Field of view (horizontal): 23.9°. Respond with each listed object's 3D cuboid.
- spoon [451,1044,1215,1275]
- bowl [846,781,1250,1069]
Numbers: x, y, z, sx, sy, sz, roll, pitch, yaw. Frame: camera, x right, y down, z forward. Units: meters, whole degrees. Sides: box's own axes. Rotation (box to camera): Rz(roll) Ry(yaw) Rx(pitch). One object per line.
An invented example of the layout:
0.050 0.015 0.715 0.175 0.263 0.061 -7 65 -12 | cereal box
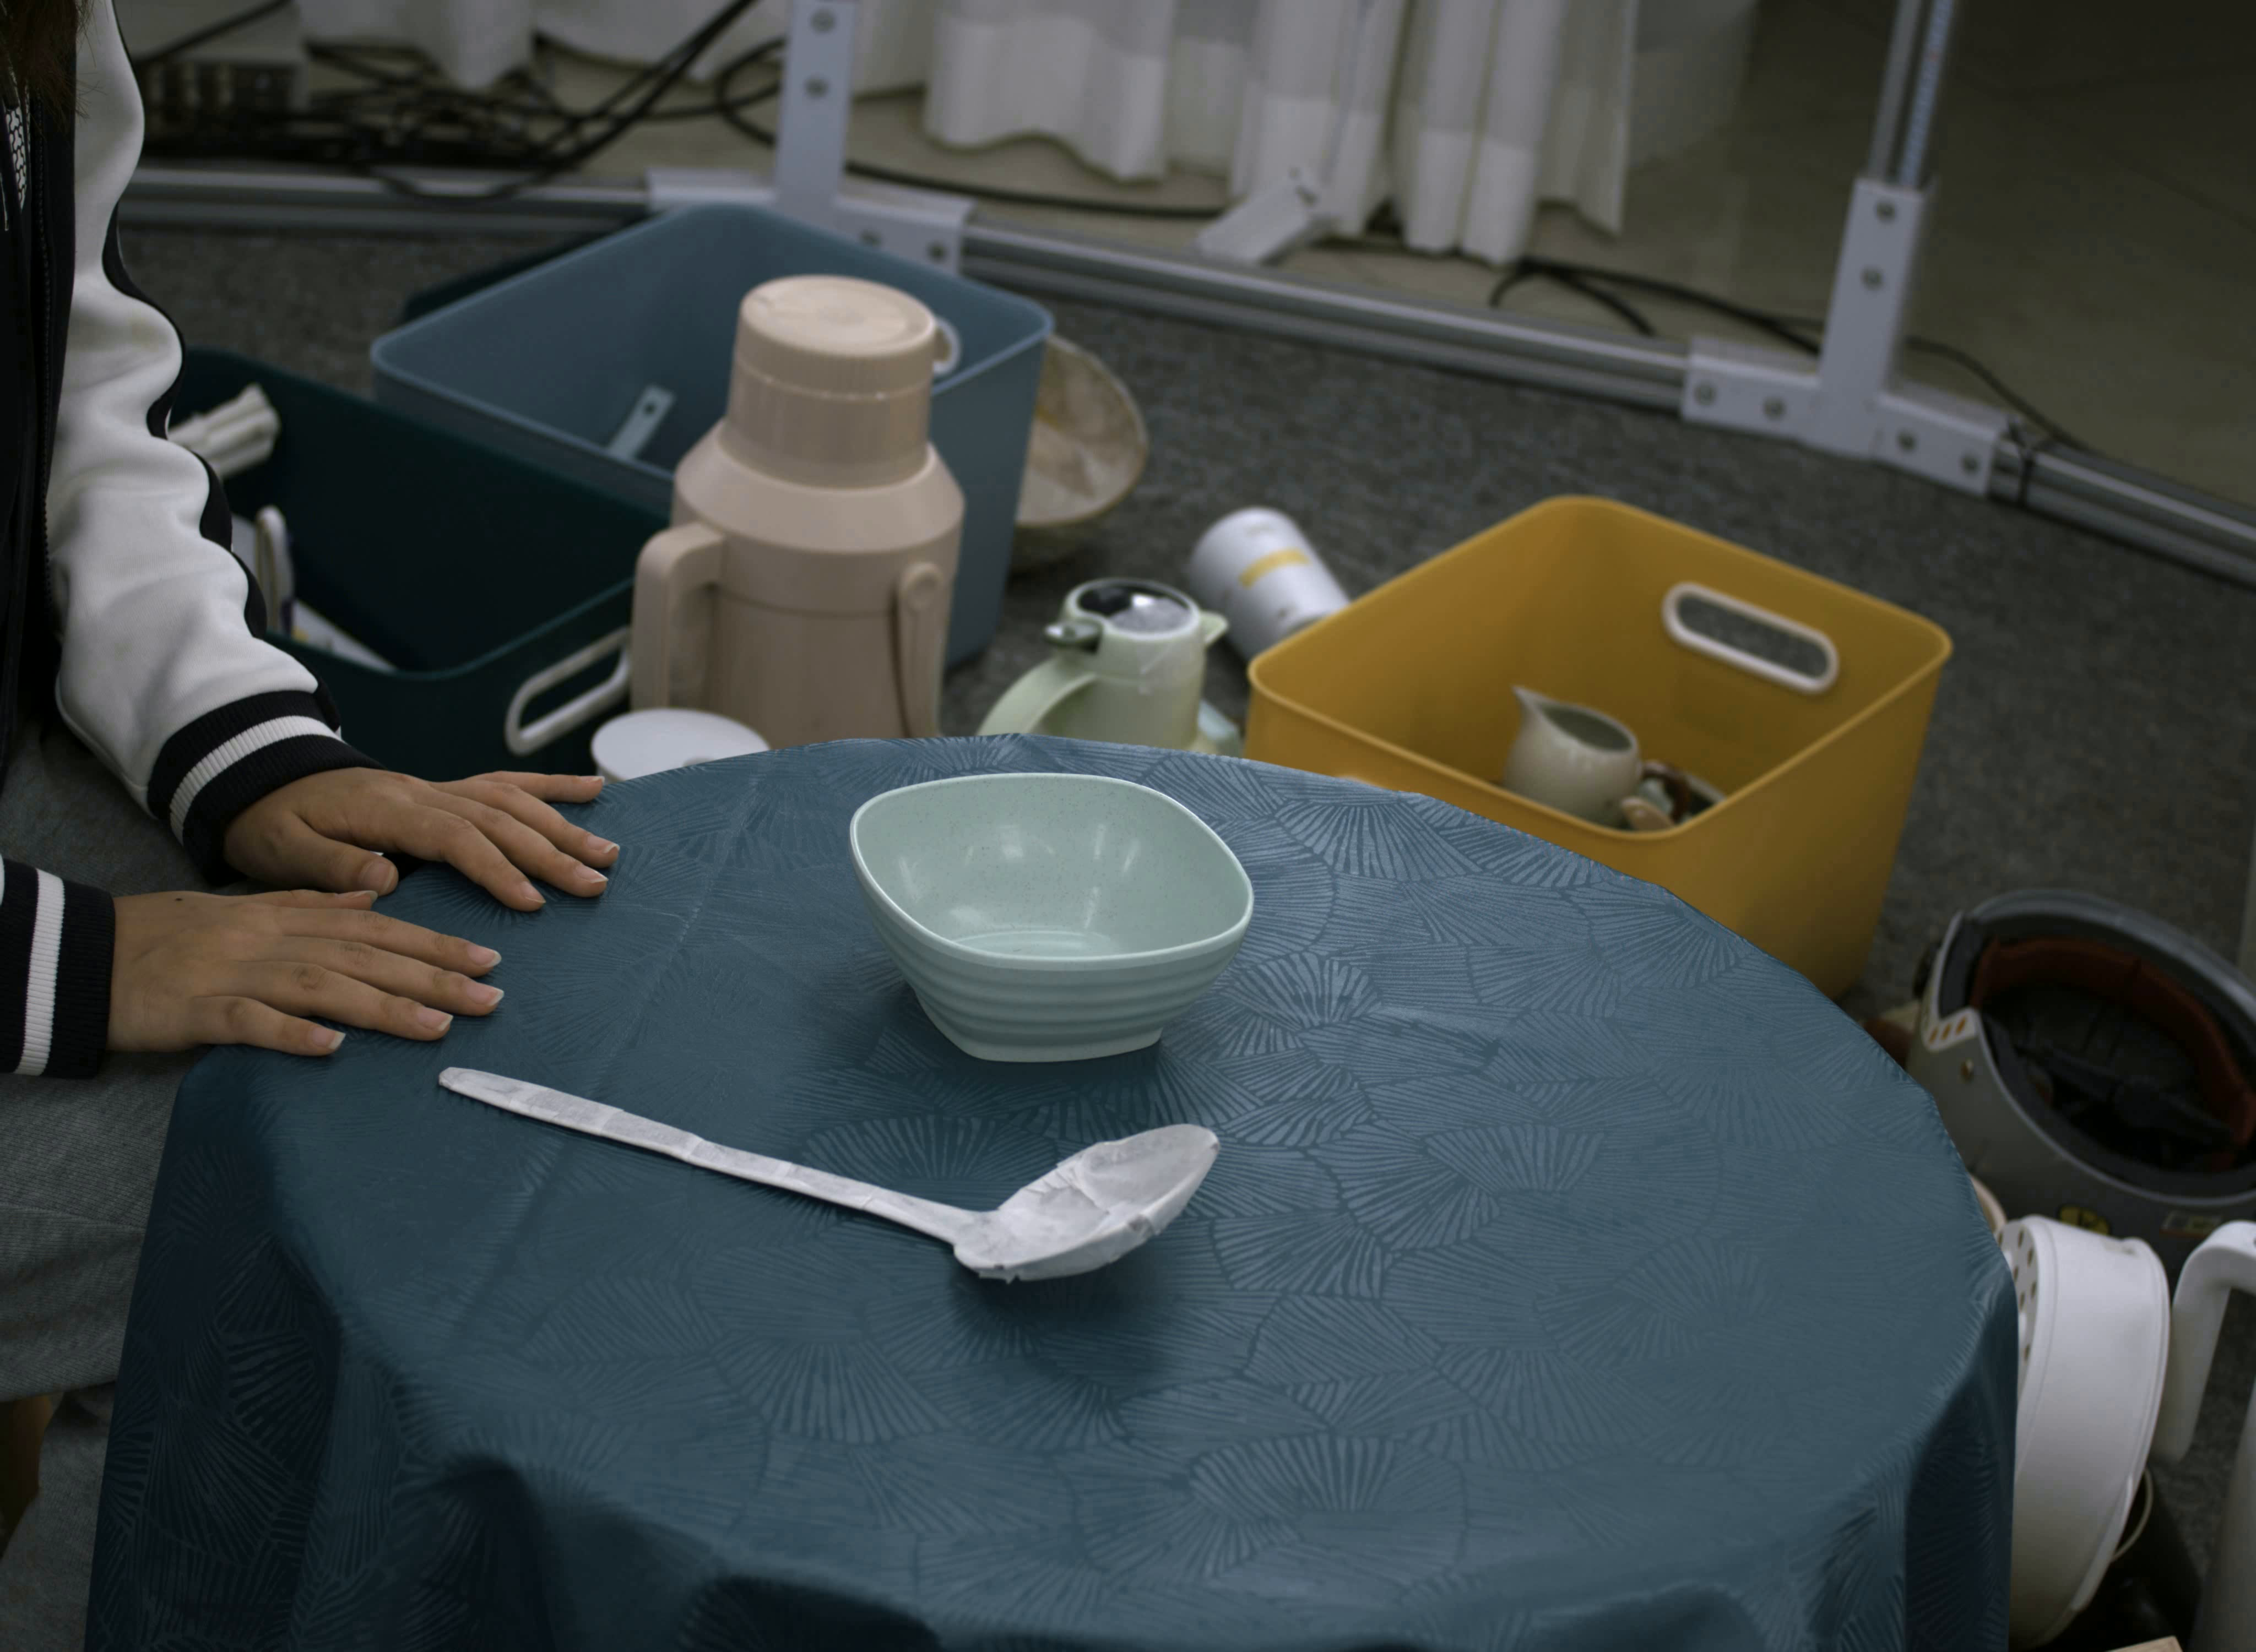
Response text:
-0.102 0.093 1.777 0.278 0.059 0.100 17 24 20 | spoon
-0.031 0.041 1.900 0.151 0.058 0.152 5 27 -3 | bowl
